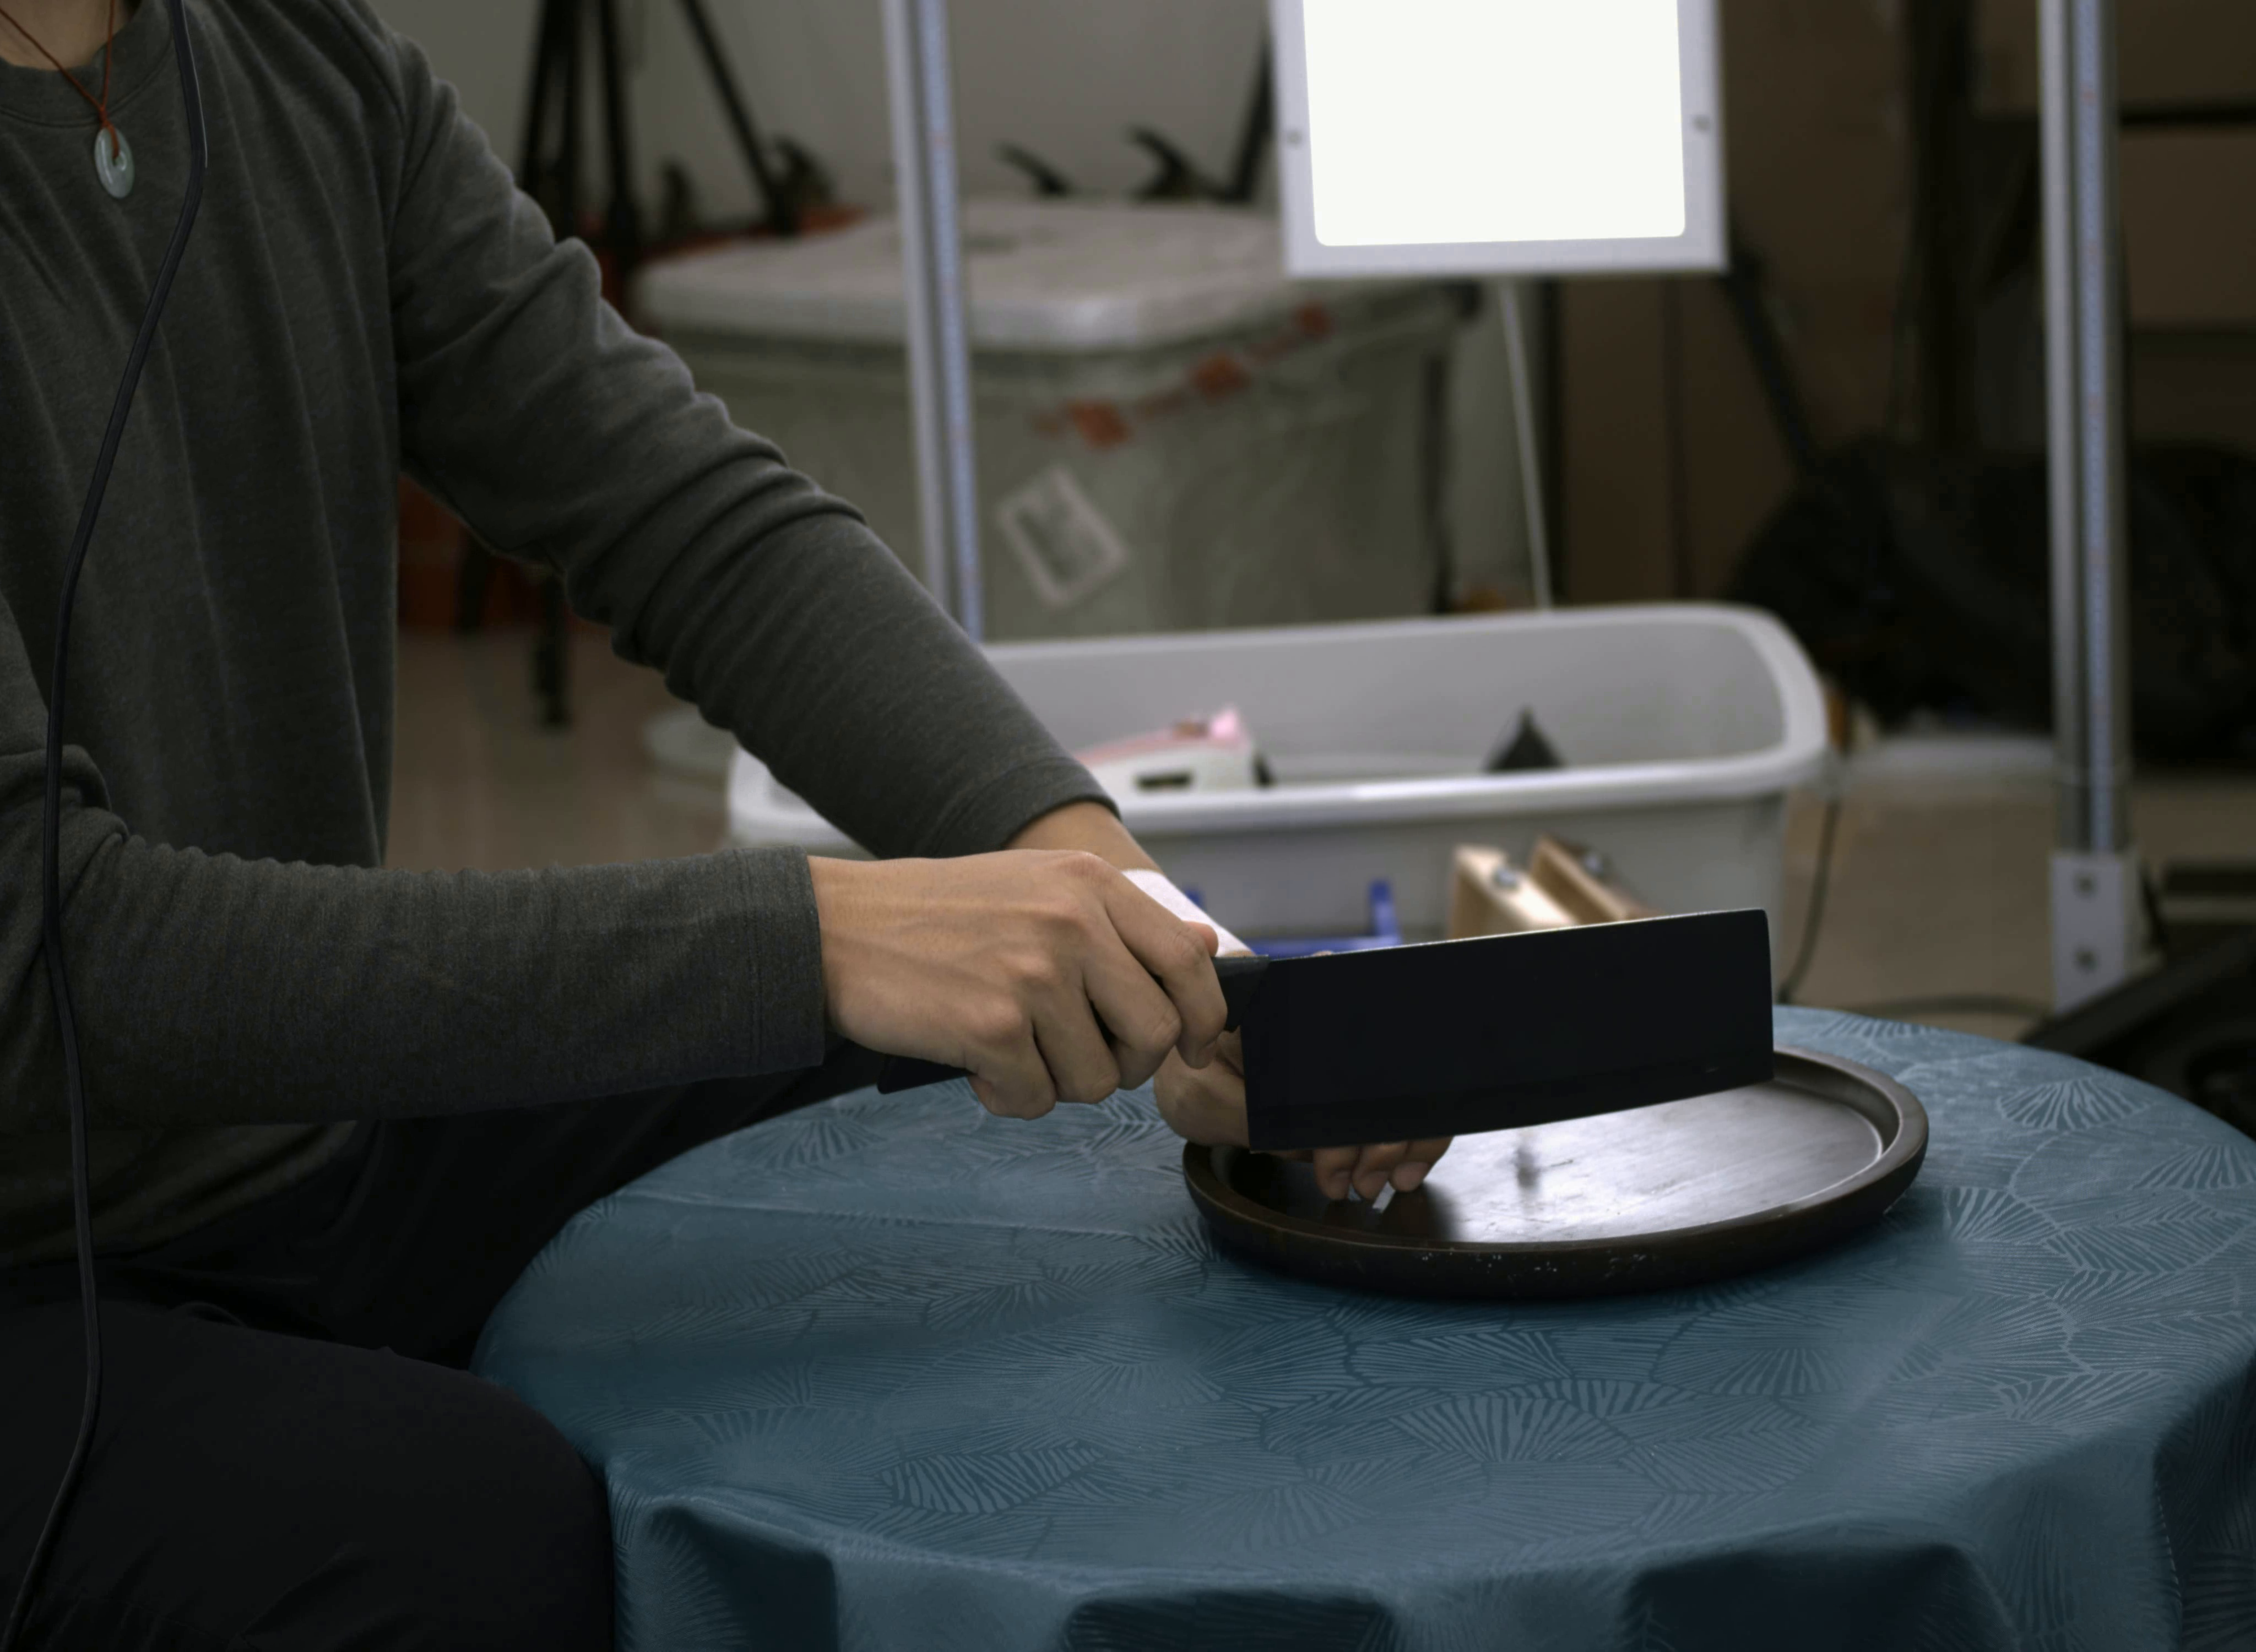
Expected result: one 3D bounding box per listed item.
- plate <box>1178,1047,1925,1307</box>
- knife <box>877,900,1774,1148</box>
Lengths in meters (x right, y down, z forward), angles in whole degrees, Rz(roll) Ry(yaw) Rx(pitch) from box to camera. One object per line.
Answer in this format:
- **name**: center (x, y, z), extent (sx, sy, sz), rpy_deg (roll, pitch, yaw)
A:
- **plate**: center (0.144, 0.113, 1.856), extent (0.254, 0.029, 0.254), rpy_deg (-5, 15, 0)
- **knife**: center (0.068, 0.067, 1.808), extent (0.300, 0.081, 0.021), rpy_deg (-2, 12, -6)
